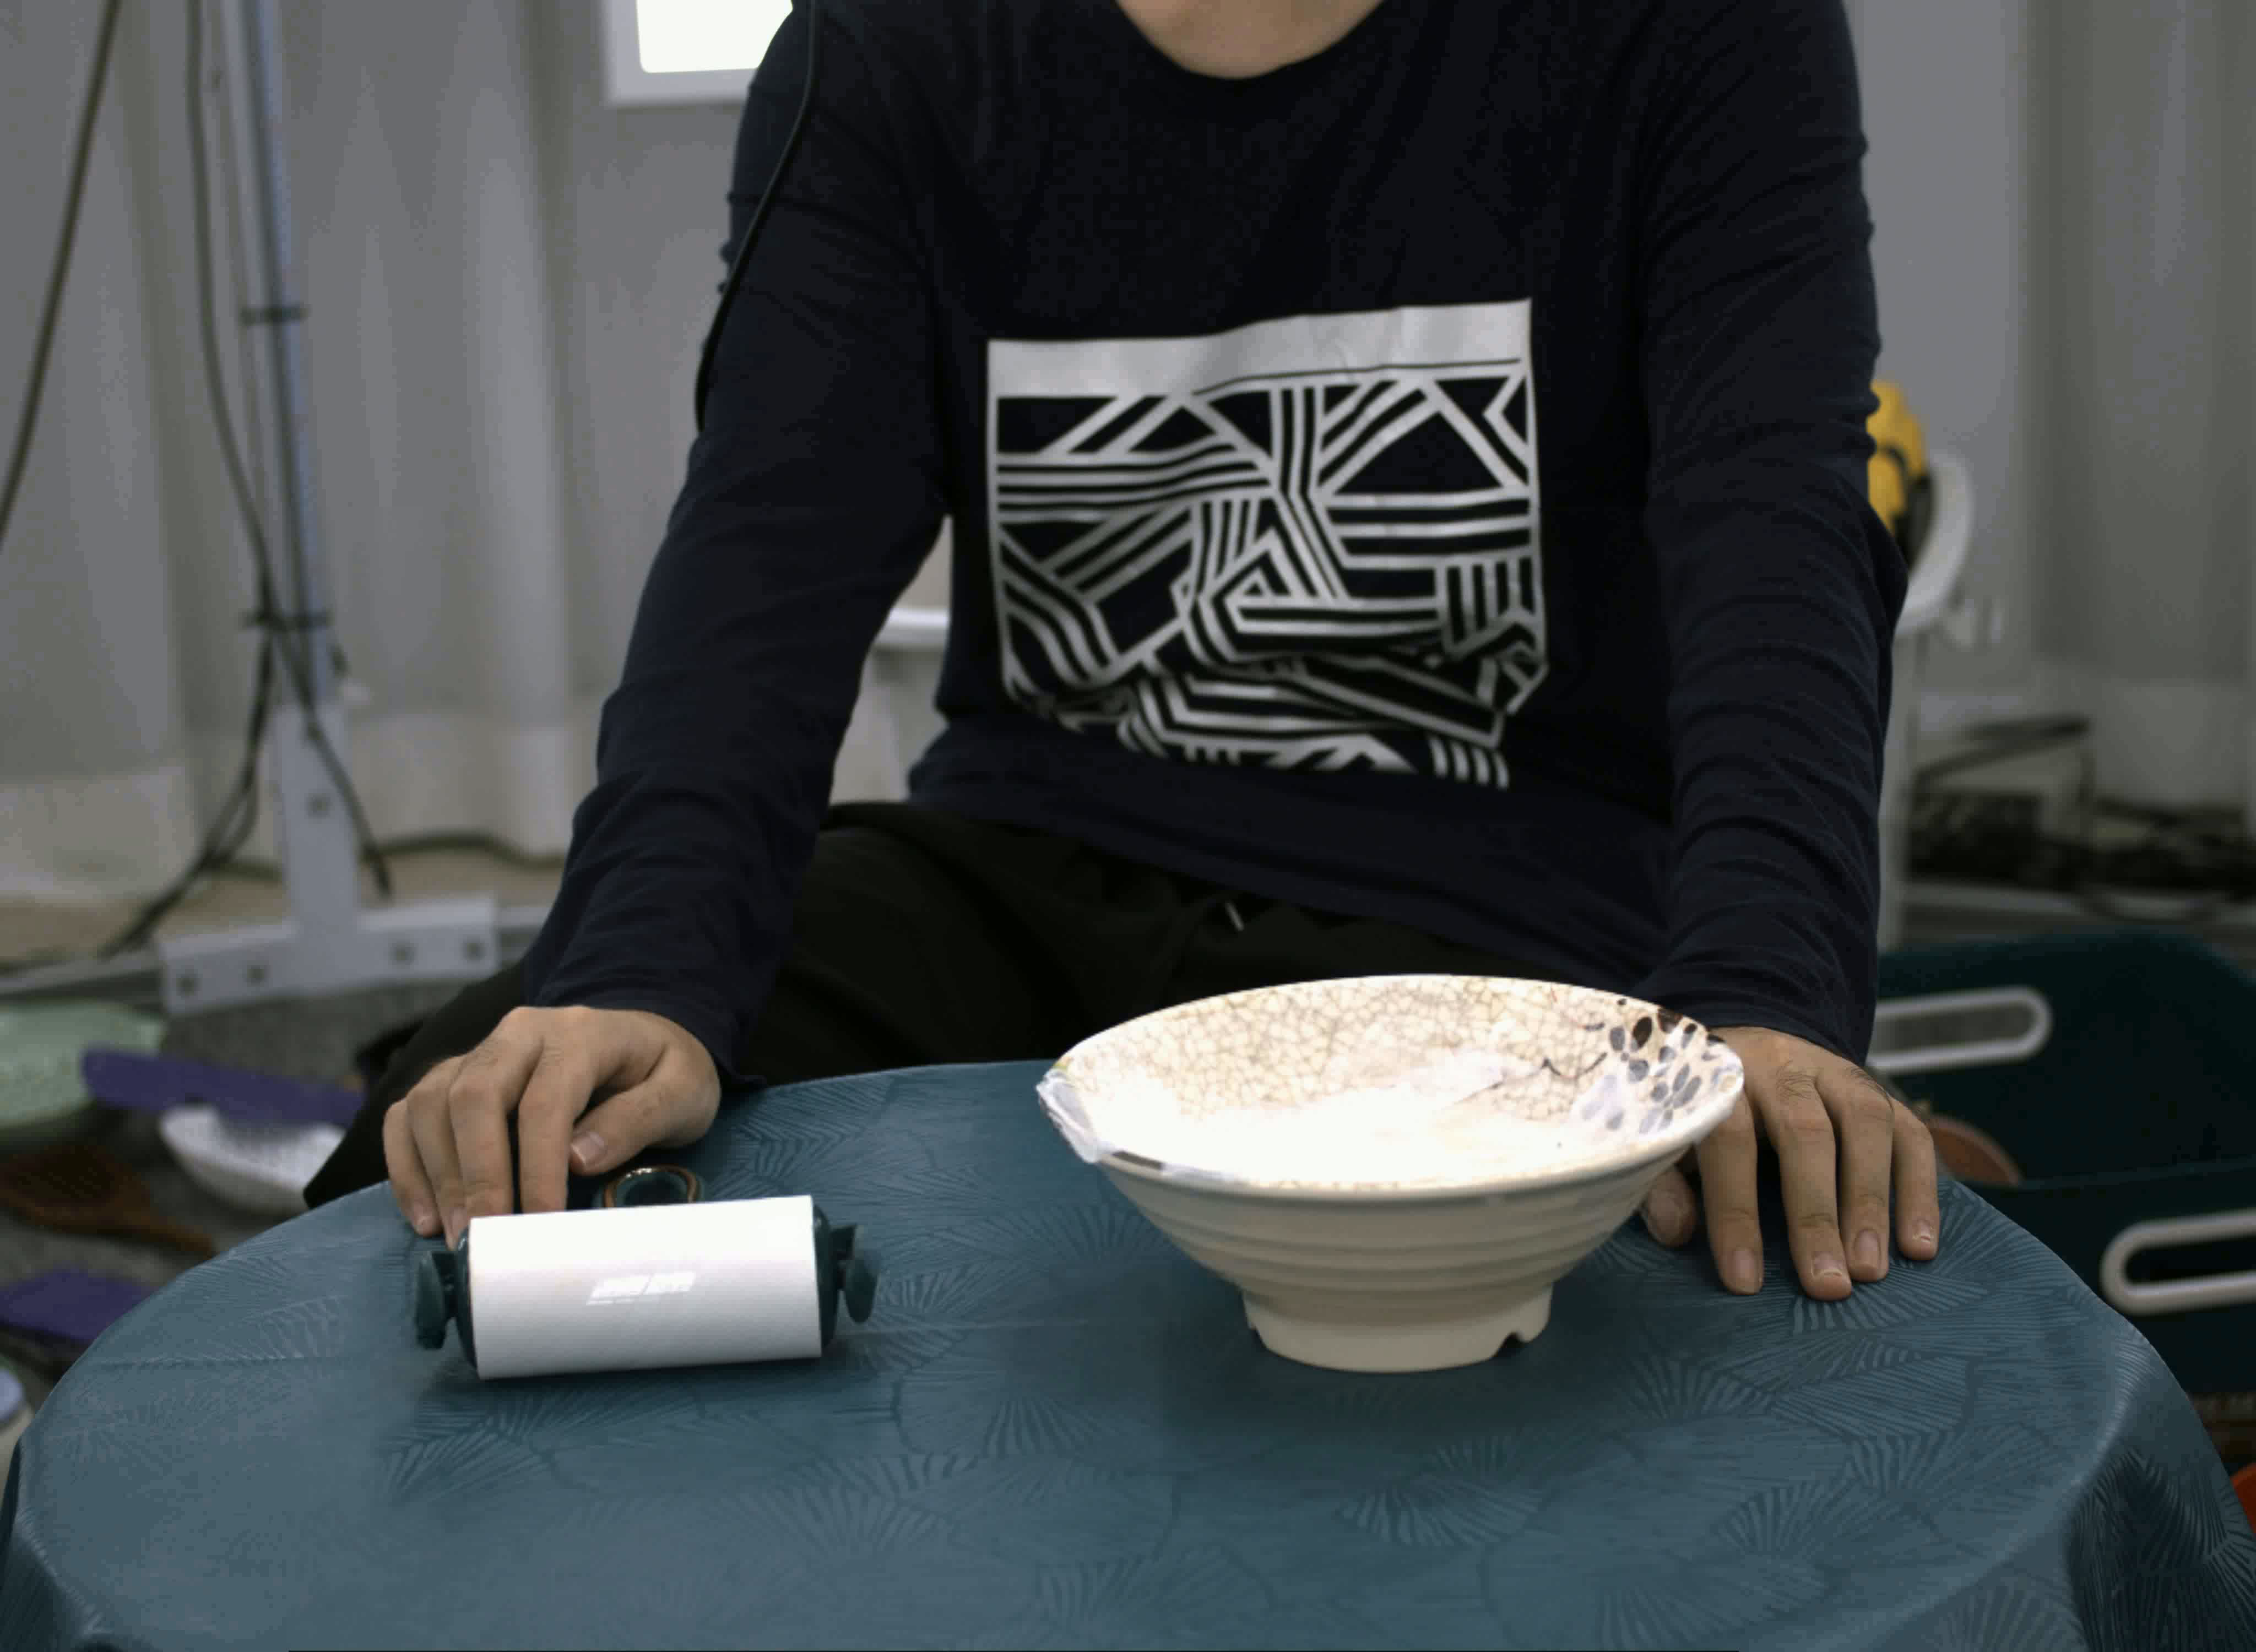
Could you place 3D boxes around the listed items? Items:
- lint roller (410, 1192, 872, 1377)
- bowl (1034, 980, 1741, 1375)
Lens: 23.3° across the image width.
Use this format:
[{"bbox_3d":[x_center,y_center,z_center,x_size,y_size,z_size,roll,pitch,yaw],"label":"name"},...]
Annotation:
[{"bbox_3d":[-0.145,0.122,1.646,0.134,0.048,0.181,-4,10,-4],"label":"lint roller"},{"bbox_3d":[0.075,0.108,1.579,0.203,0.078,0.205,-1,13,0],"label":"bowl"}]
